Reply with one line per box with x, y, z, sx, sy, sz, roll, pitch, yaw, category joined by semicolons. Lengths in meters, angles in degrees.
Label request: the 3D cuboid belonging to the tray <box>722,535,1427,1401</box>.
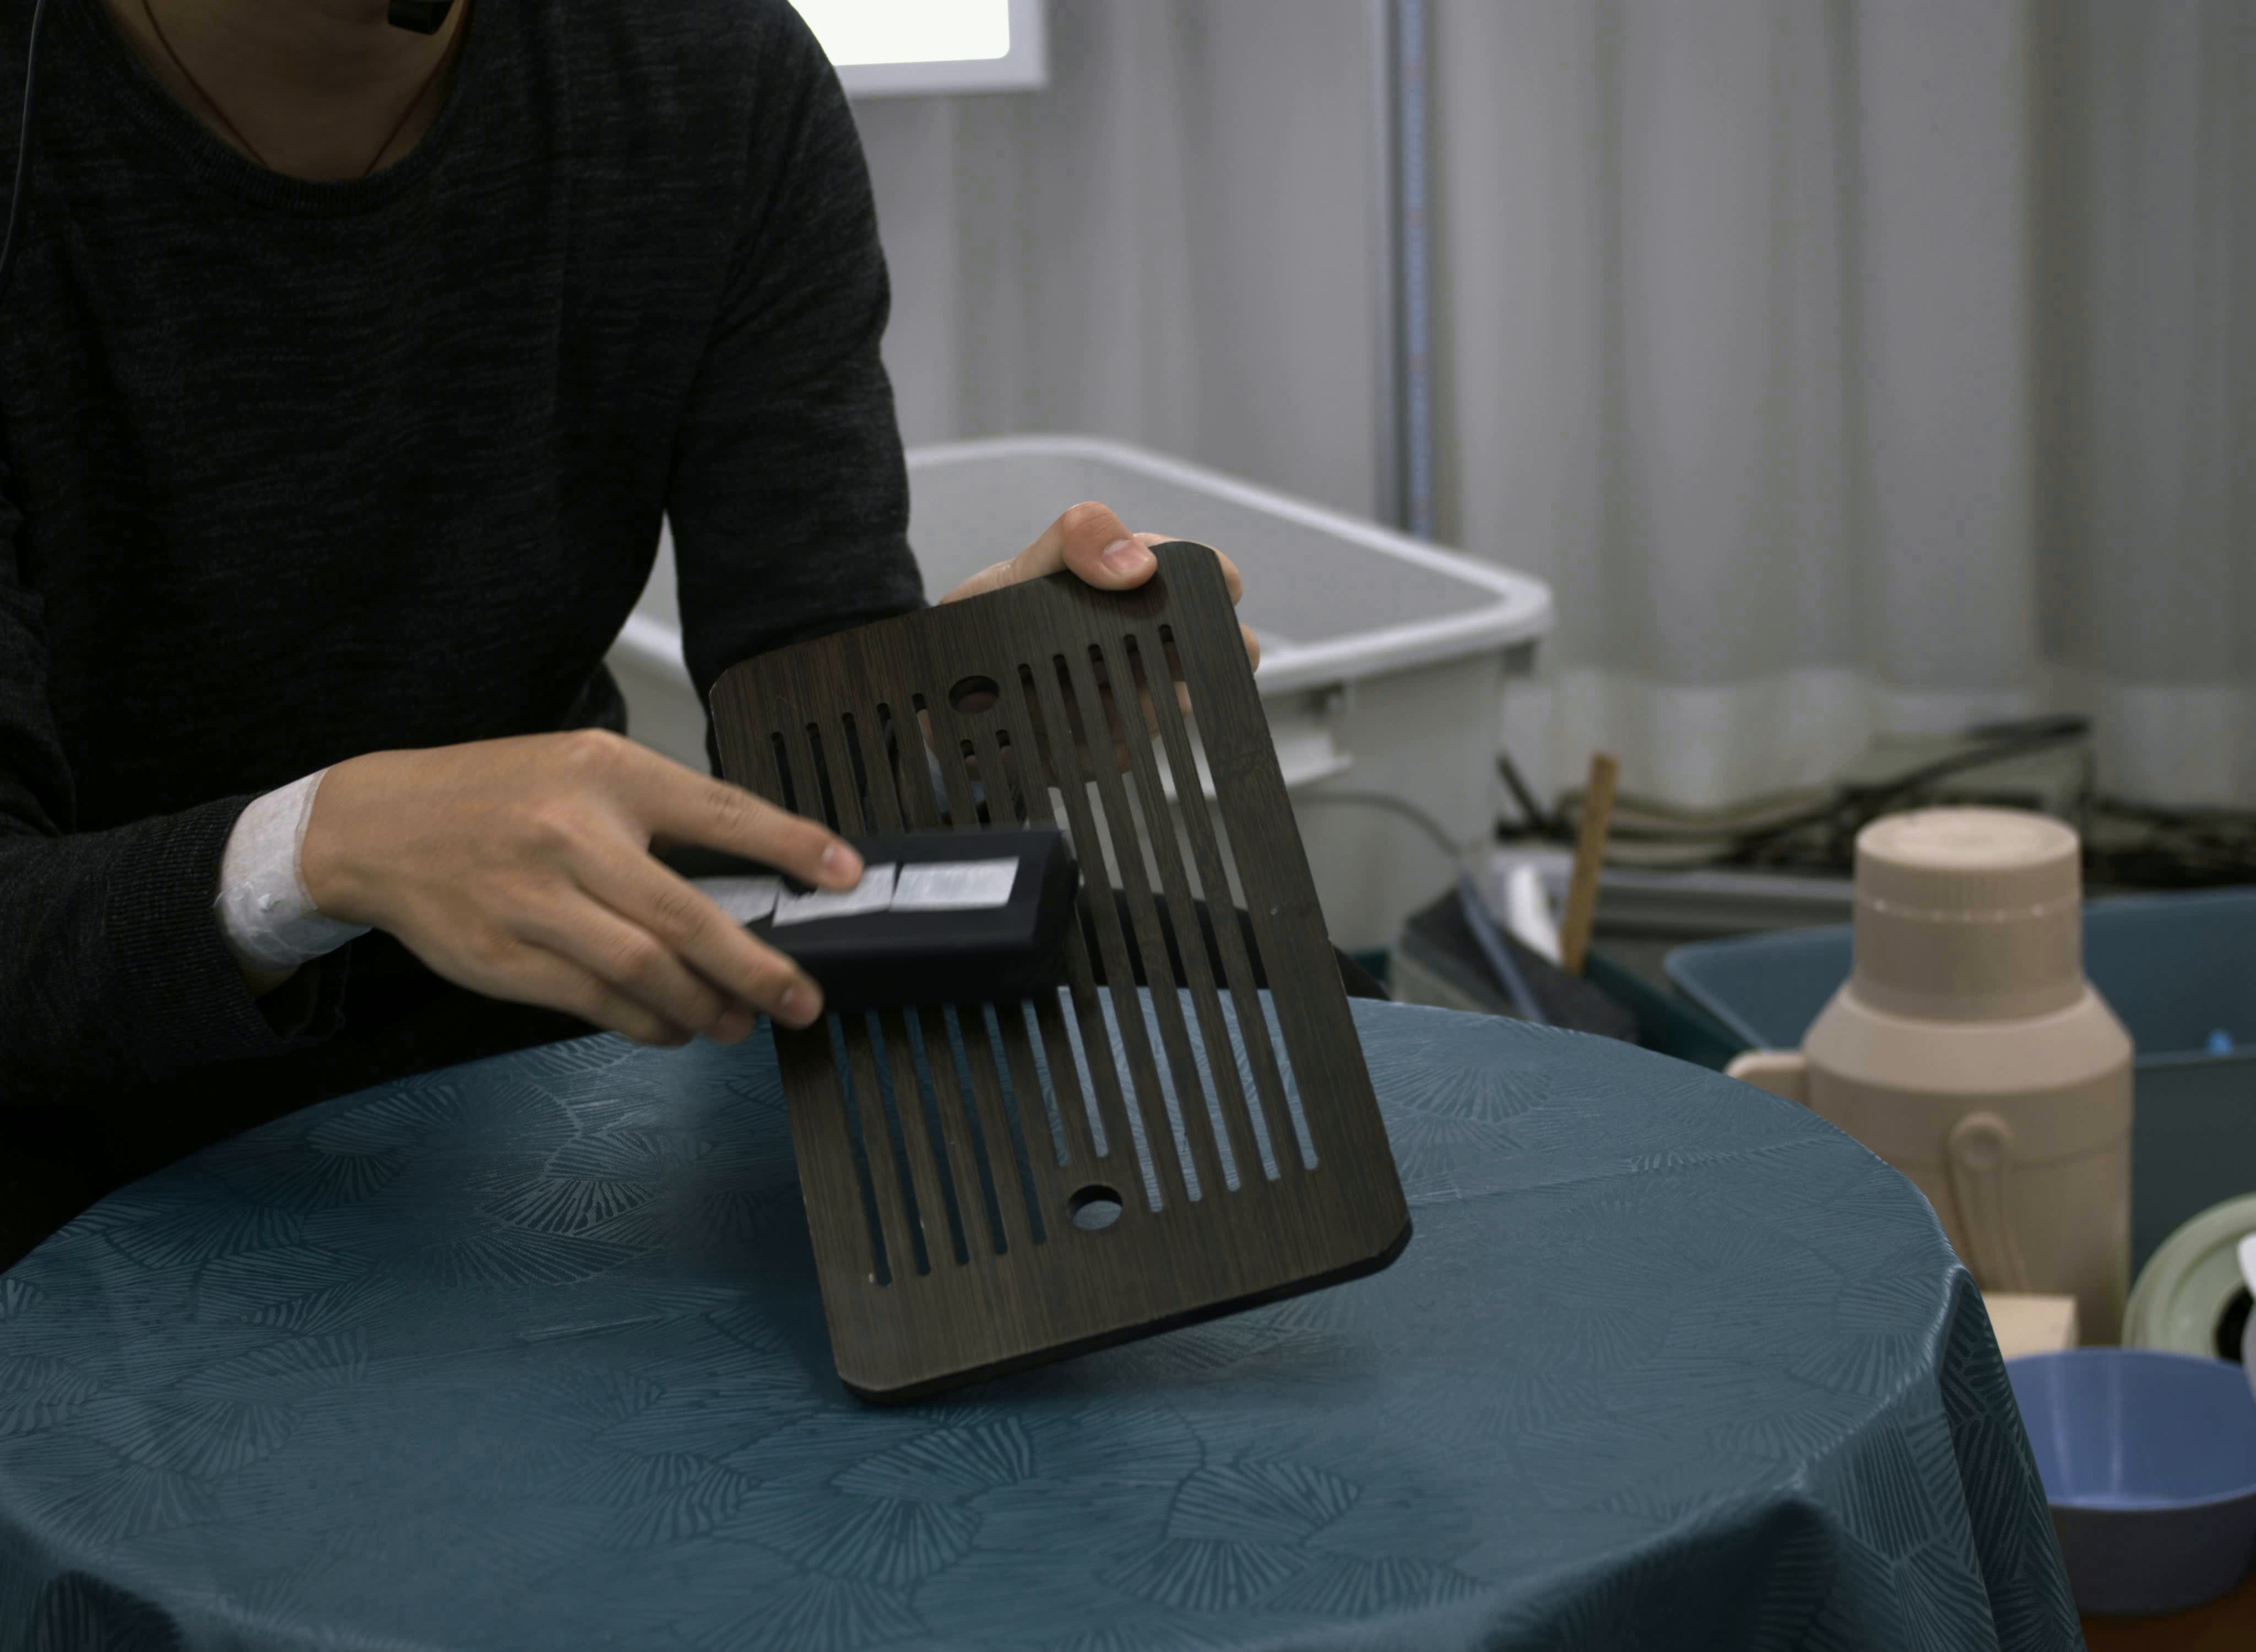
-0.022;0.037;1.647;0.169;0.018;0.311;-15;45;1;tray

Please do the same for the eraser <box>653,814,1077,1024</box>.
-0.078;0.028;1.644;0.125;0.030;0.054;-6;43;13;eraser
